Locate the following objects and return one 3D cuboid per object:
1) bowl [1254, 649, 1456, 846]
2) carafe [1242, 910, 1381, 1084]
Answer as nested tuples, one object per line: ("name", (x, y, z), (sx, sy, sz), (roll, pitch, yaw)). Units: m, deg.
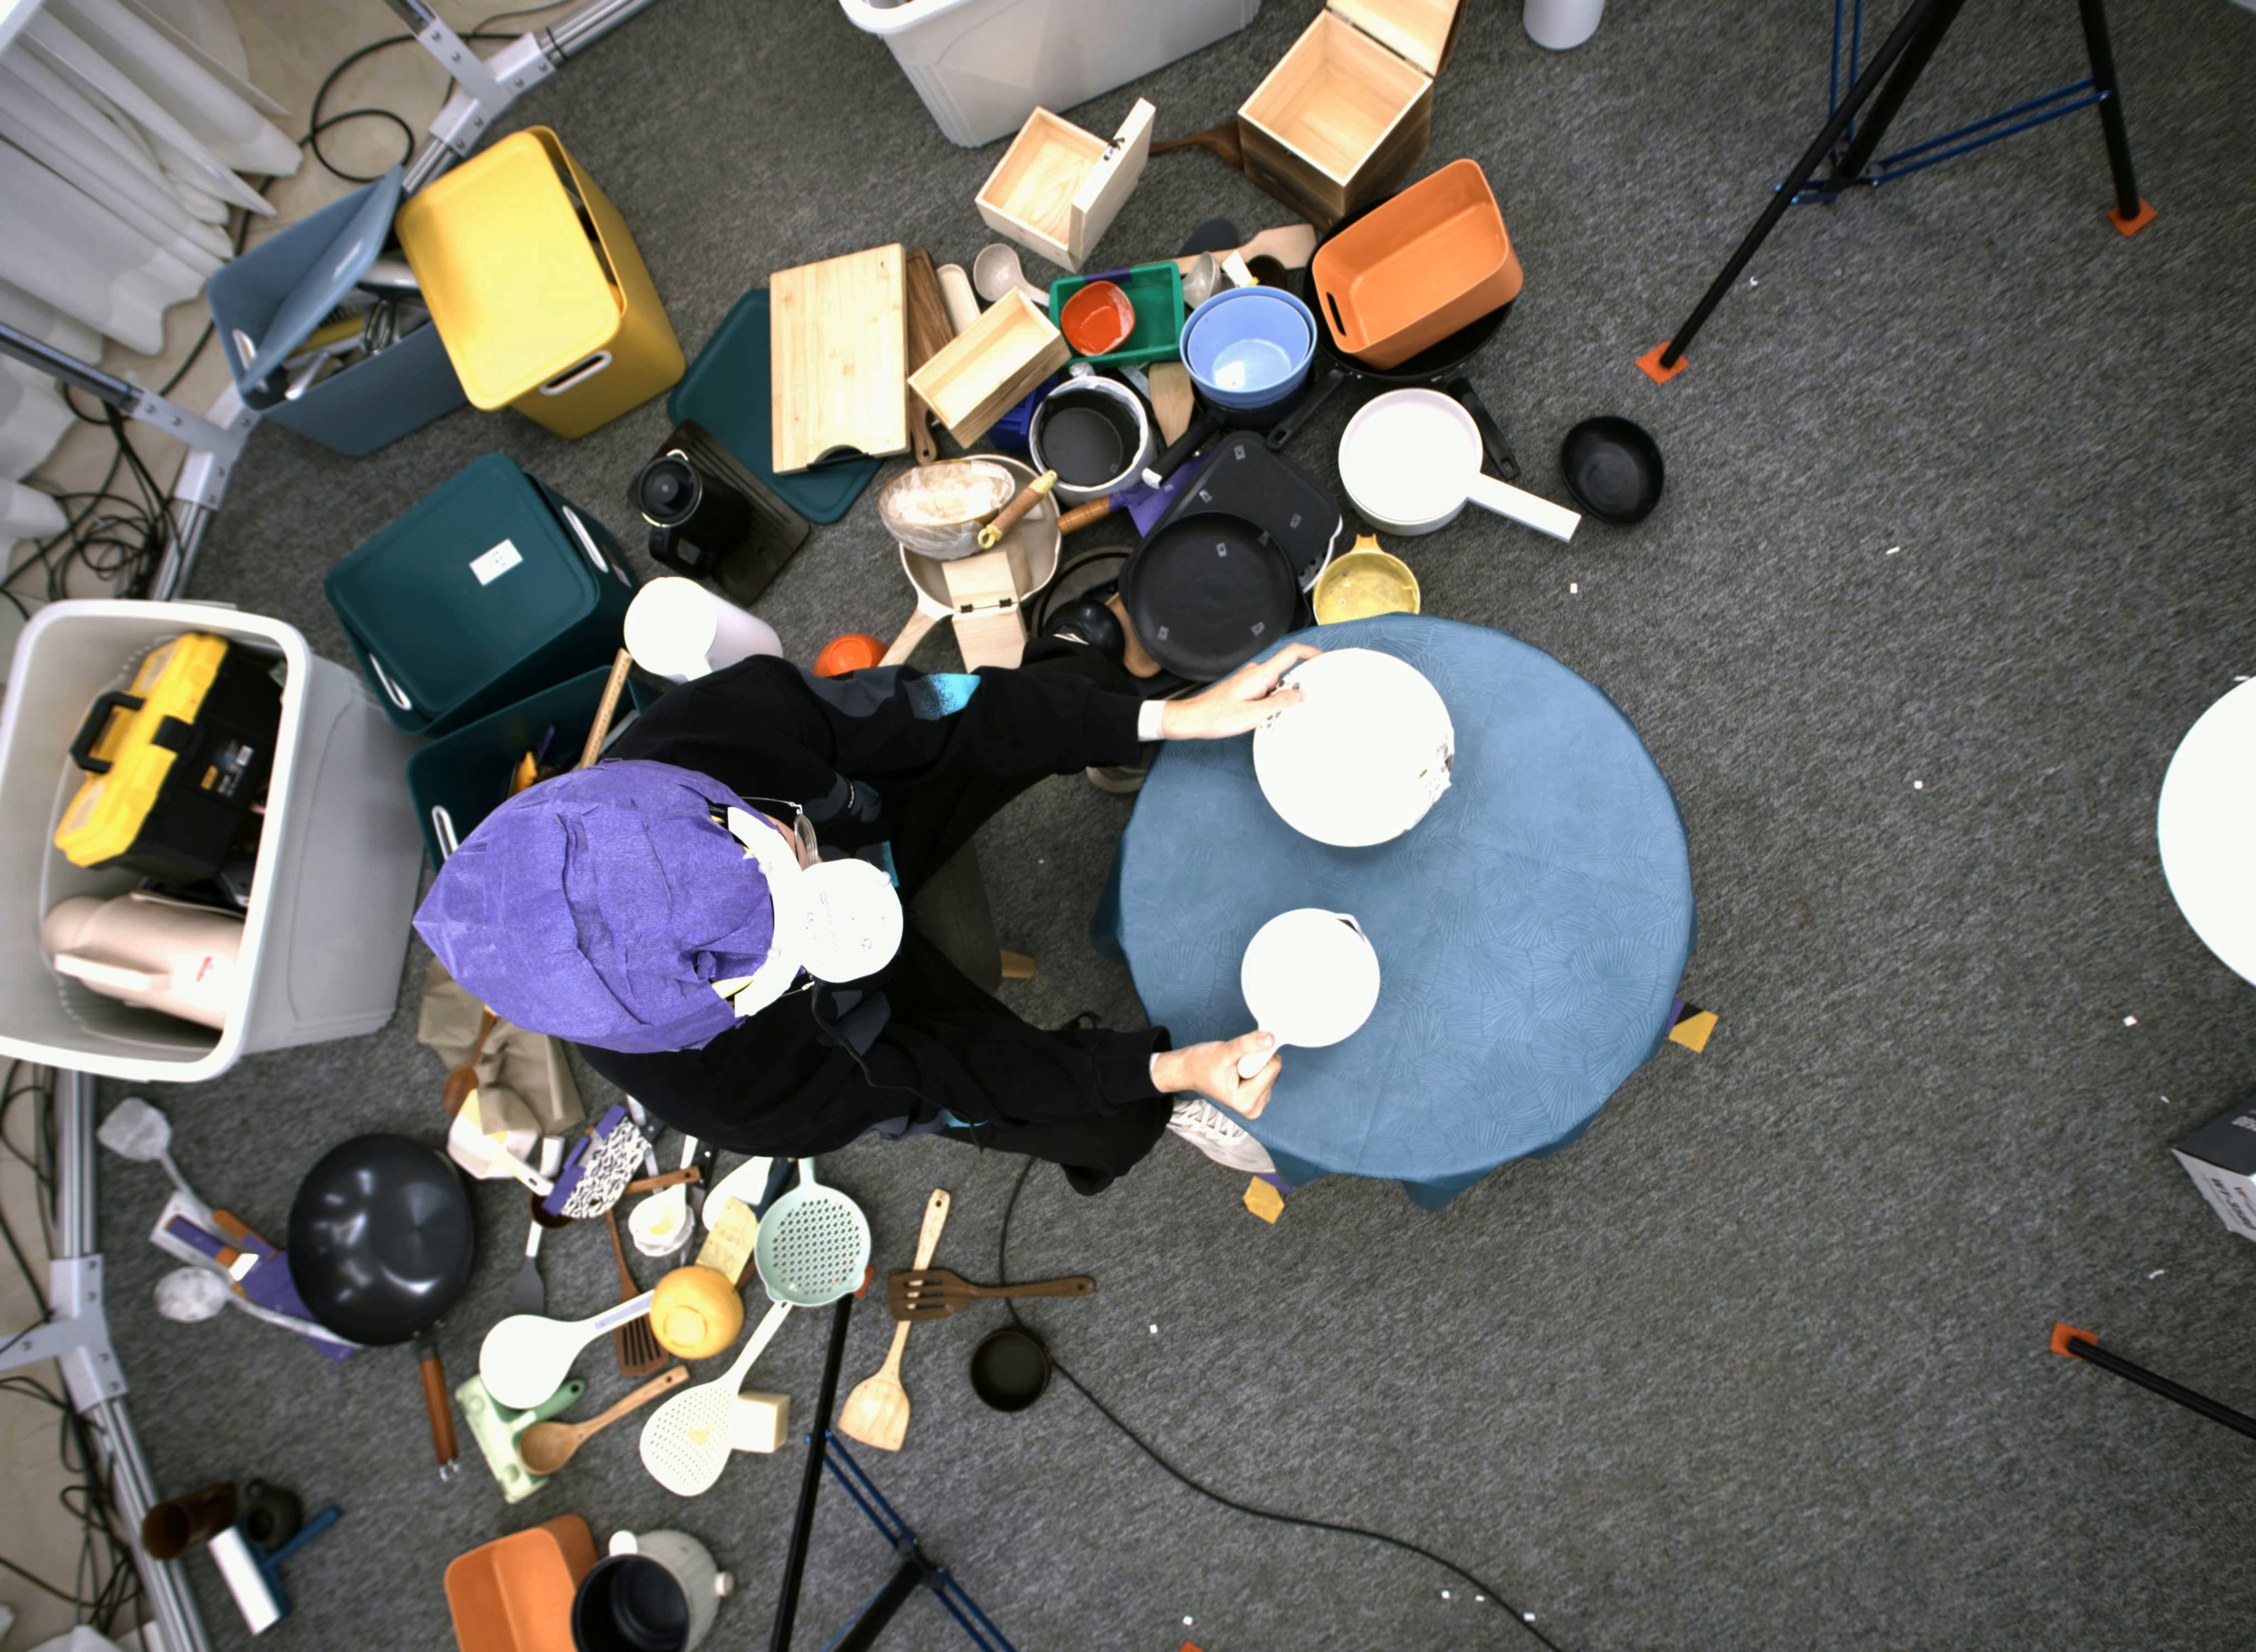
("bowl", (0.237, -0.077, 1.431), (0.205, 0.078, 0.203), (-1, 86, 12))
("carafe", (0.165, 0.168, 1.357), (0.132, 0.182, 0.191), (32, 92, 8))
